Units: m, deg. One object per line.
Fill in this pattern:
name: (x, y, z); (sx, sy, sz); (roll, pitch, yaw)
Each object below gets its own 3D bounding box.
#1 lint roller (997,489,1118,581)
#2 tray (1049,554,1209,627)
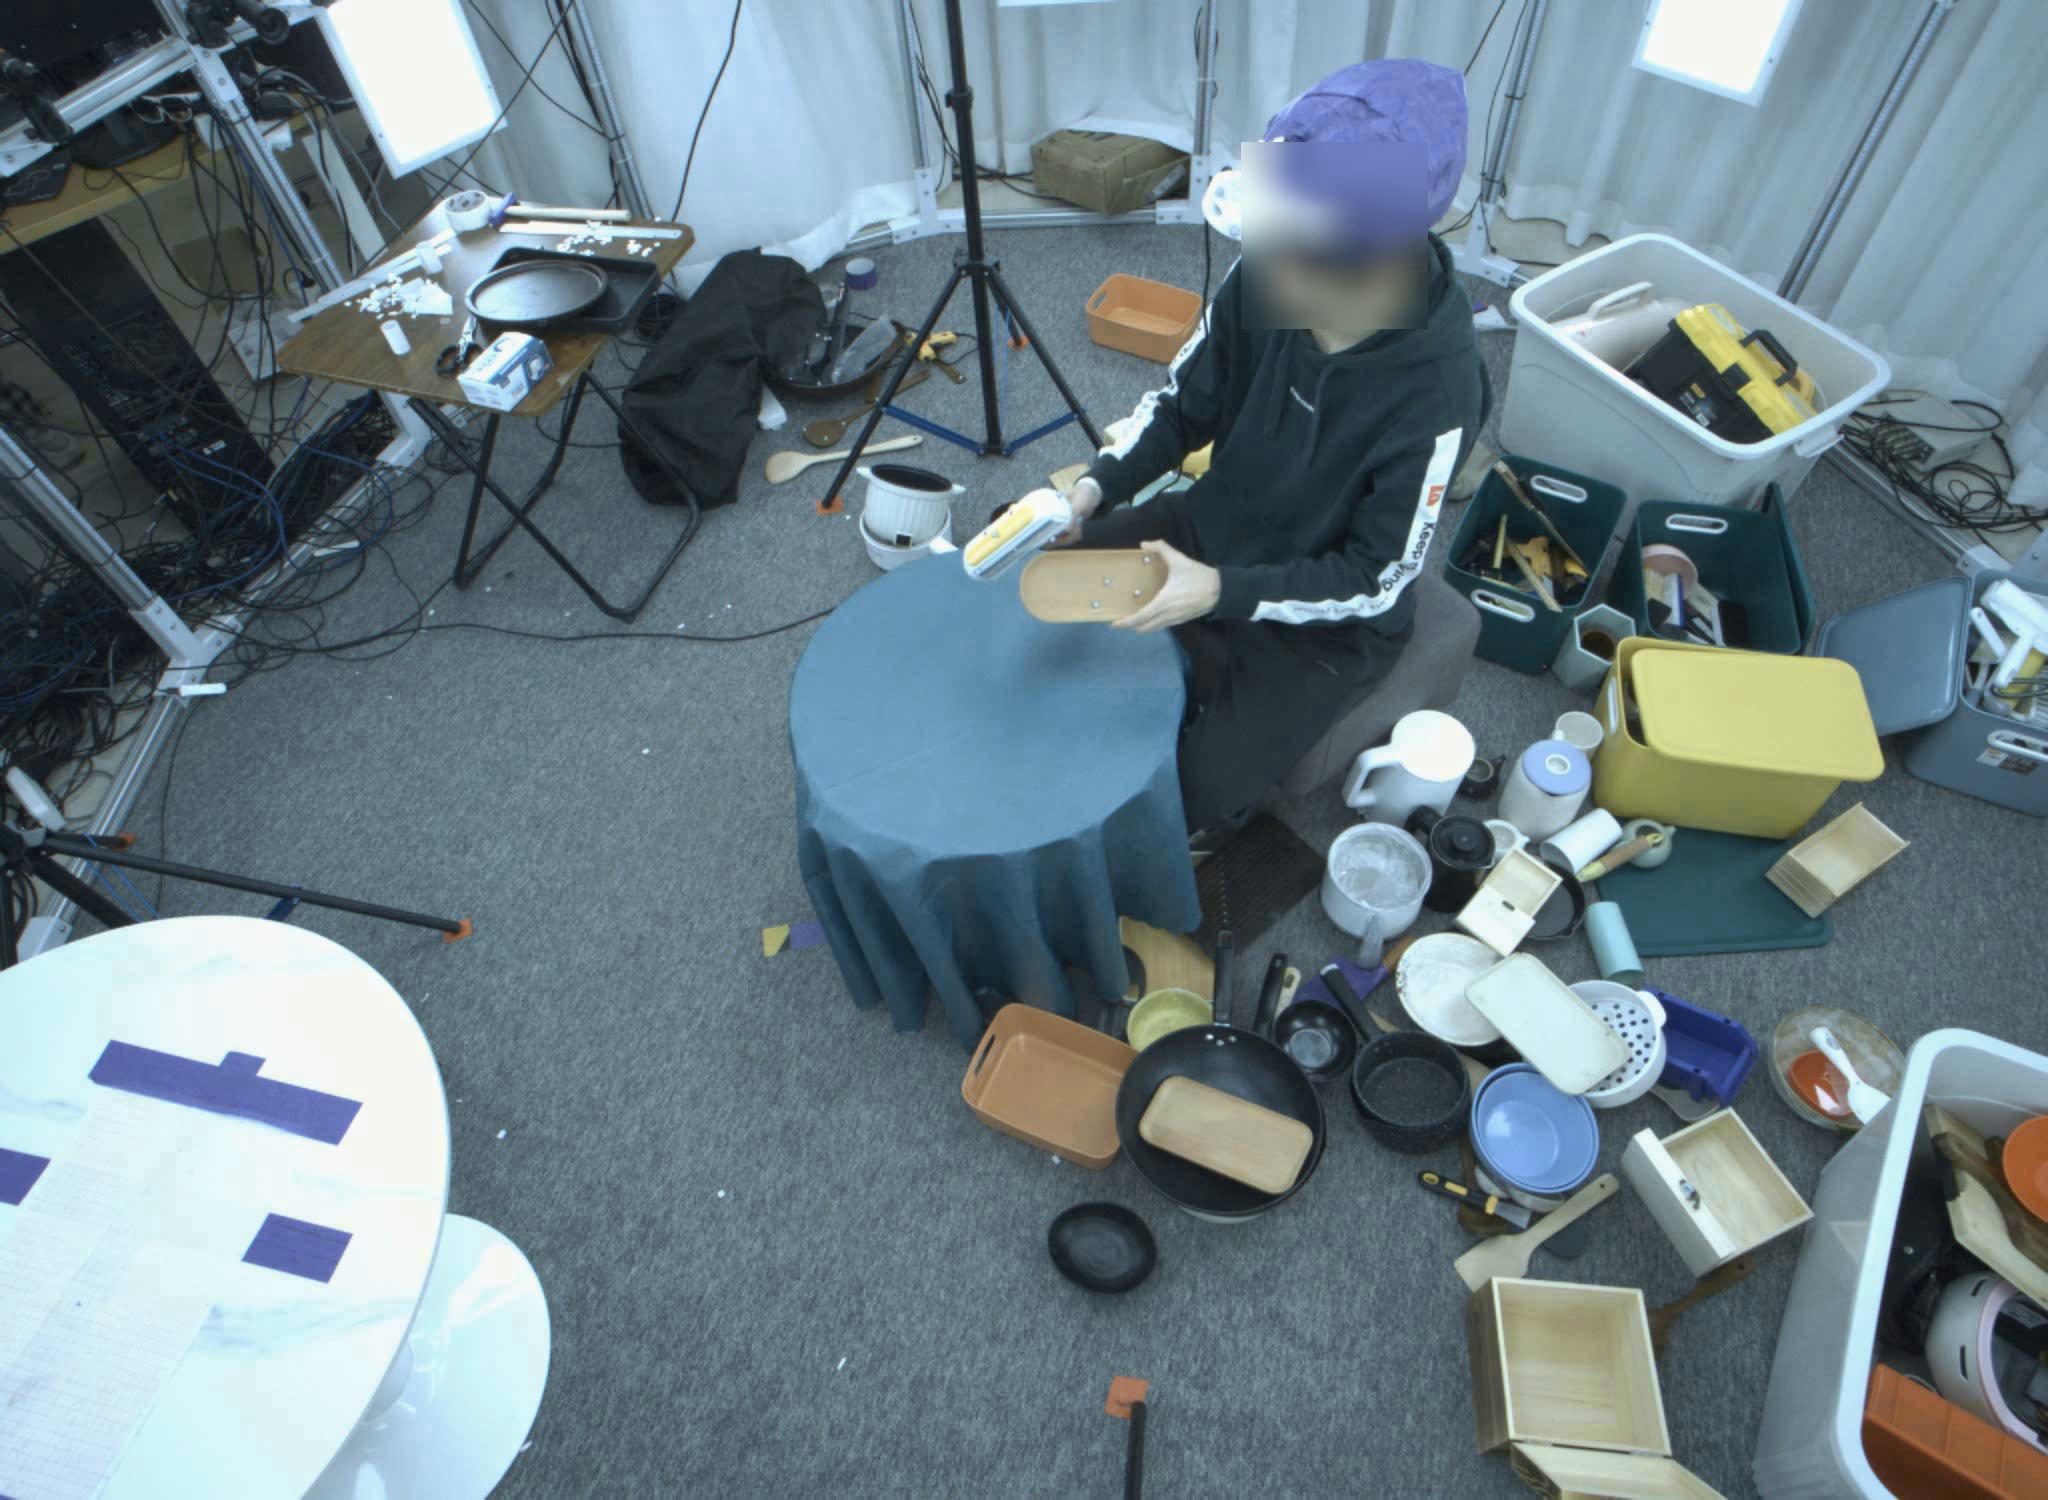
lint roller: (0.075, -0.307, 1.749); (0.196, 0.190, 0.073); (-7, 68, -49)
tray: (0.148, -0.223, 1.722); (0.233, 0.020, 0.102); (-2, 97, -12)
